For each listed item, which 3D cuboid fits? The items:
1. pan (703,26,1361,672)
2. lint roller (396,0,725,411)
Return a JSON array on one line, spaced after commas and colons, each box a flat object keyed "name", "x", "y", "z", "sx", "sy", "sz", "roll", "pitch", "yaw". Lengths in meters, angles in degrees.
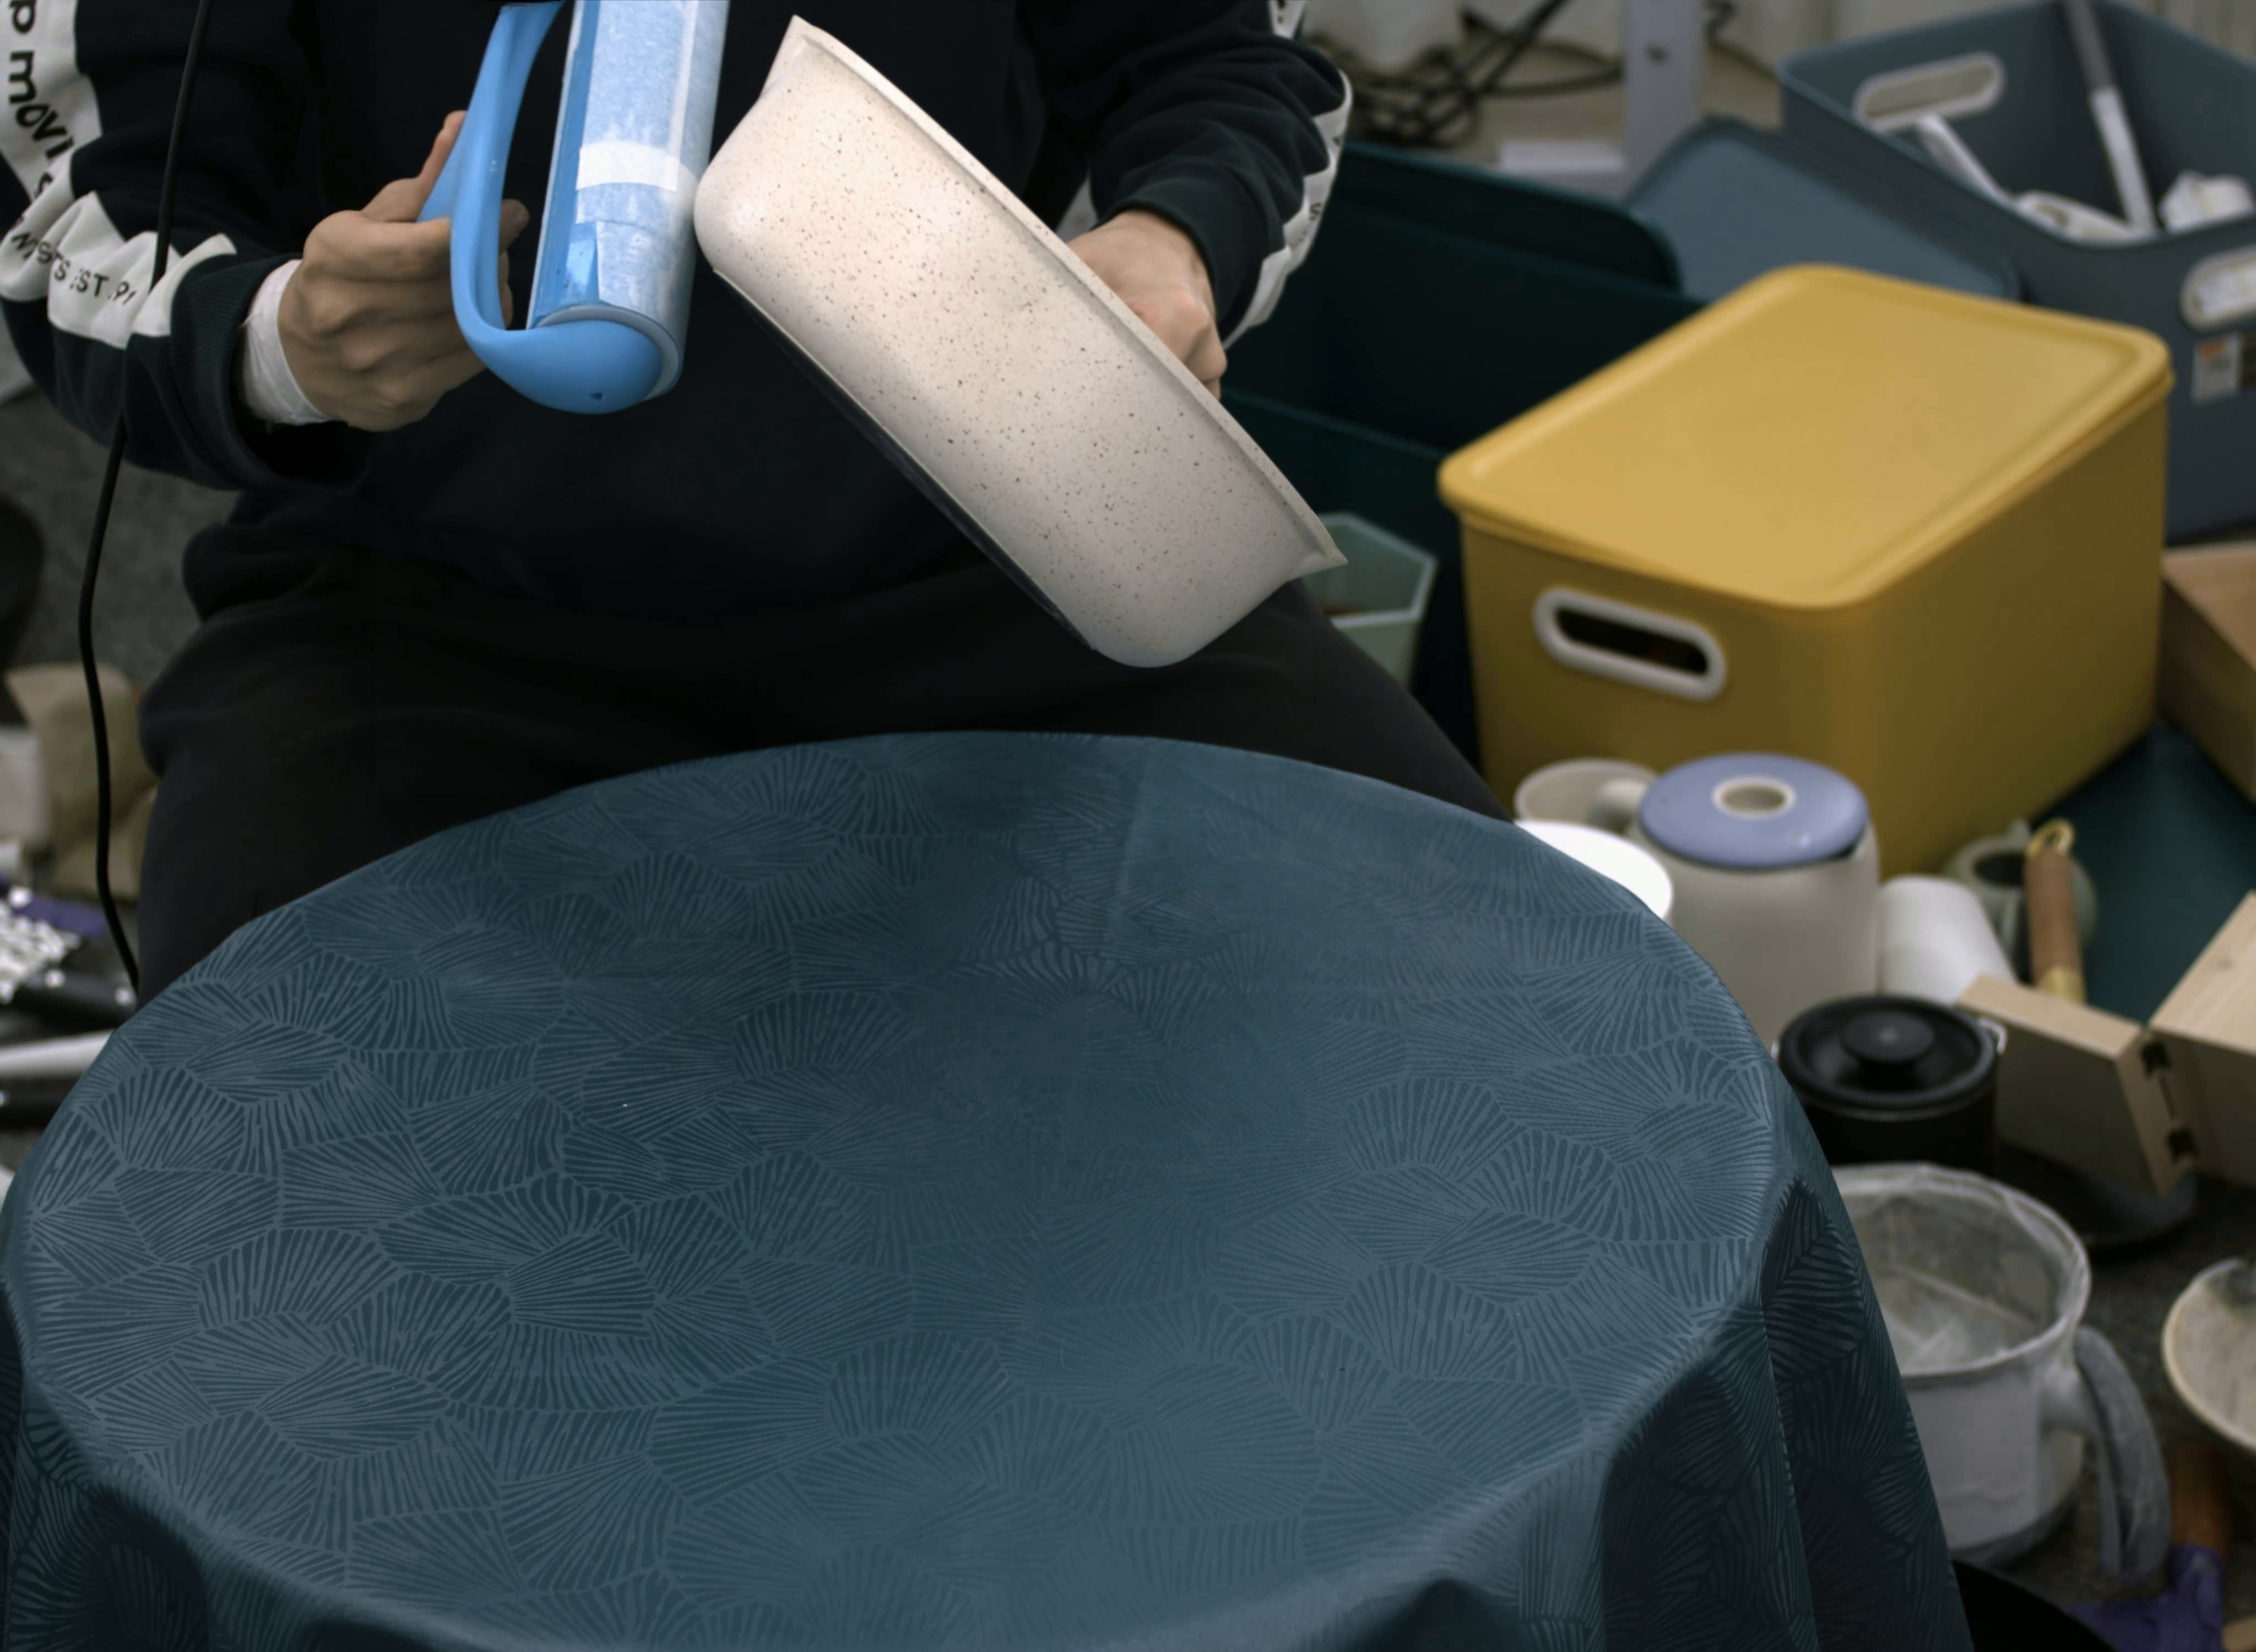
[{"name": "pan", "x": -0.038, "y": -0.153, "z": 1.994, "sx": 0.102, "sy": 0.263, "sz": 0.434, "roll": -47, "pitch": -1, "yaw": -1}, {"name": "lint roller", "x": -0.213, "y": -0.213, "z": 1.973, "sx": 0.177, "sy": 0.067, "sz": 0.233, "roll": -30, "pitch": 45, "yaw": 32}]
